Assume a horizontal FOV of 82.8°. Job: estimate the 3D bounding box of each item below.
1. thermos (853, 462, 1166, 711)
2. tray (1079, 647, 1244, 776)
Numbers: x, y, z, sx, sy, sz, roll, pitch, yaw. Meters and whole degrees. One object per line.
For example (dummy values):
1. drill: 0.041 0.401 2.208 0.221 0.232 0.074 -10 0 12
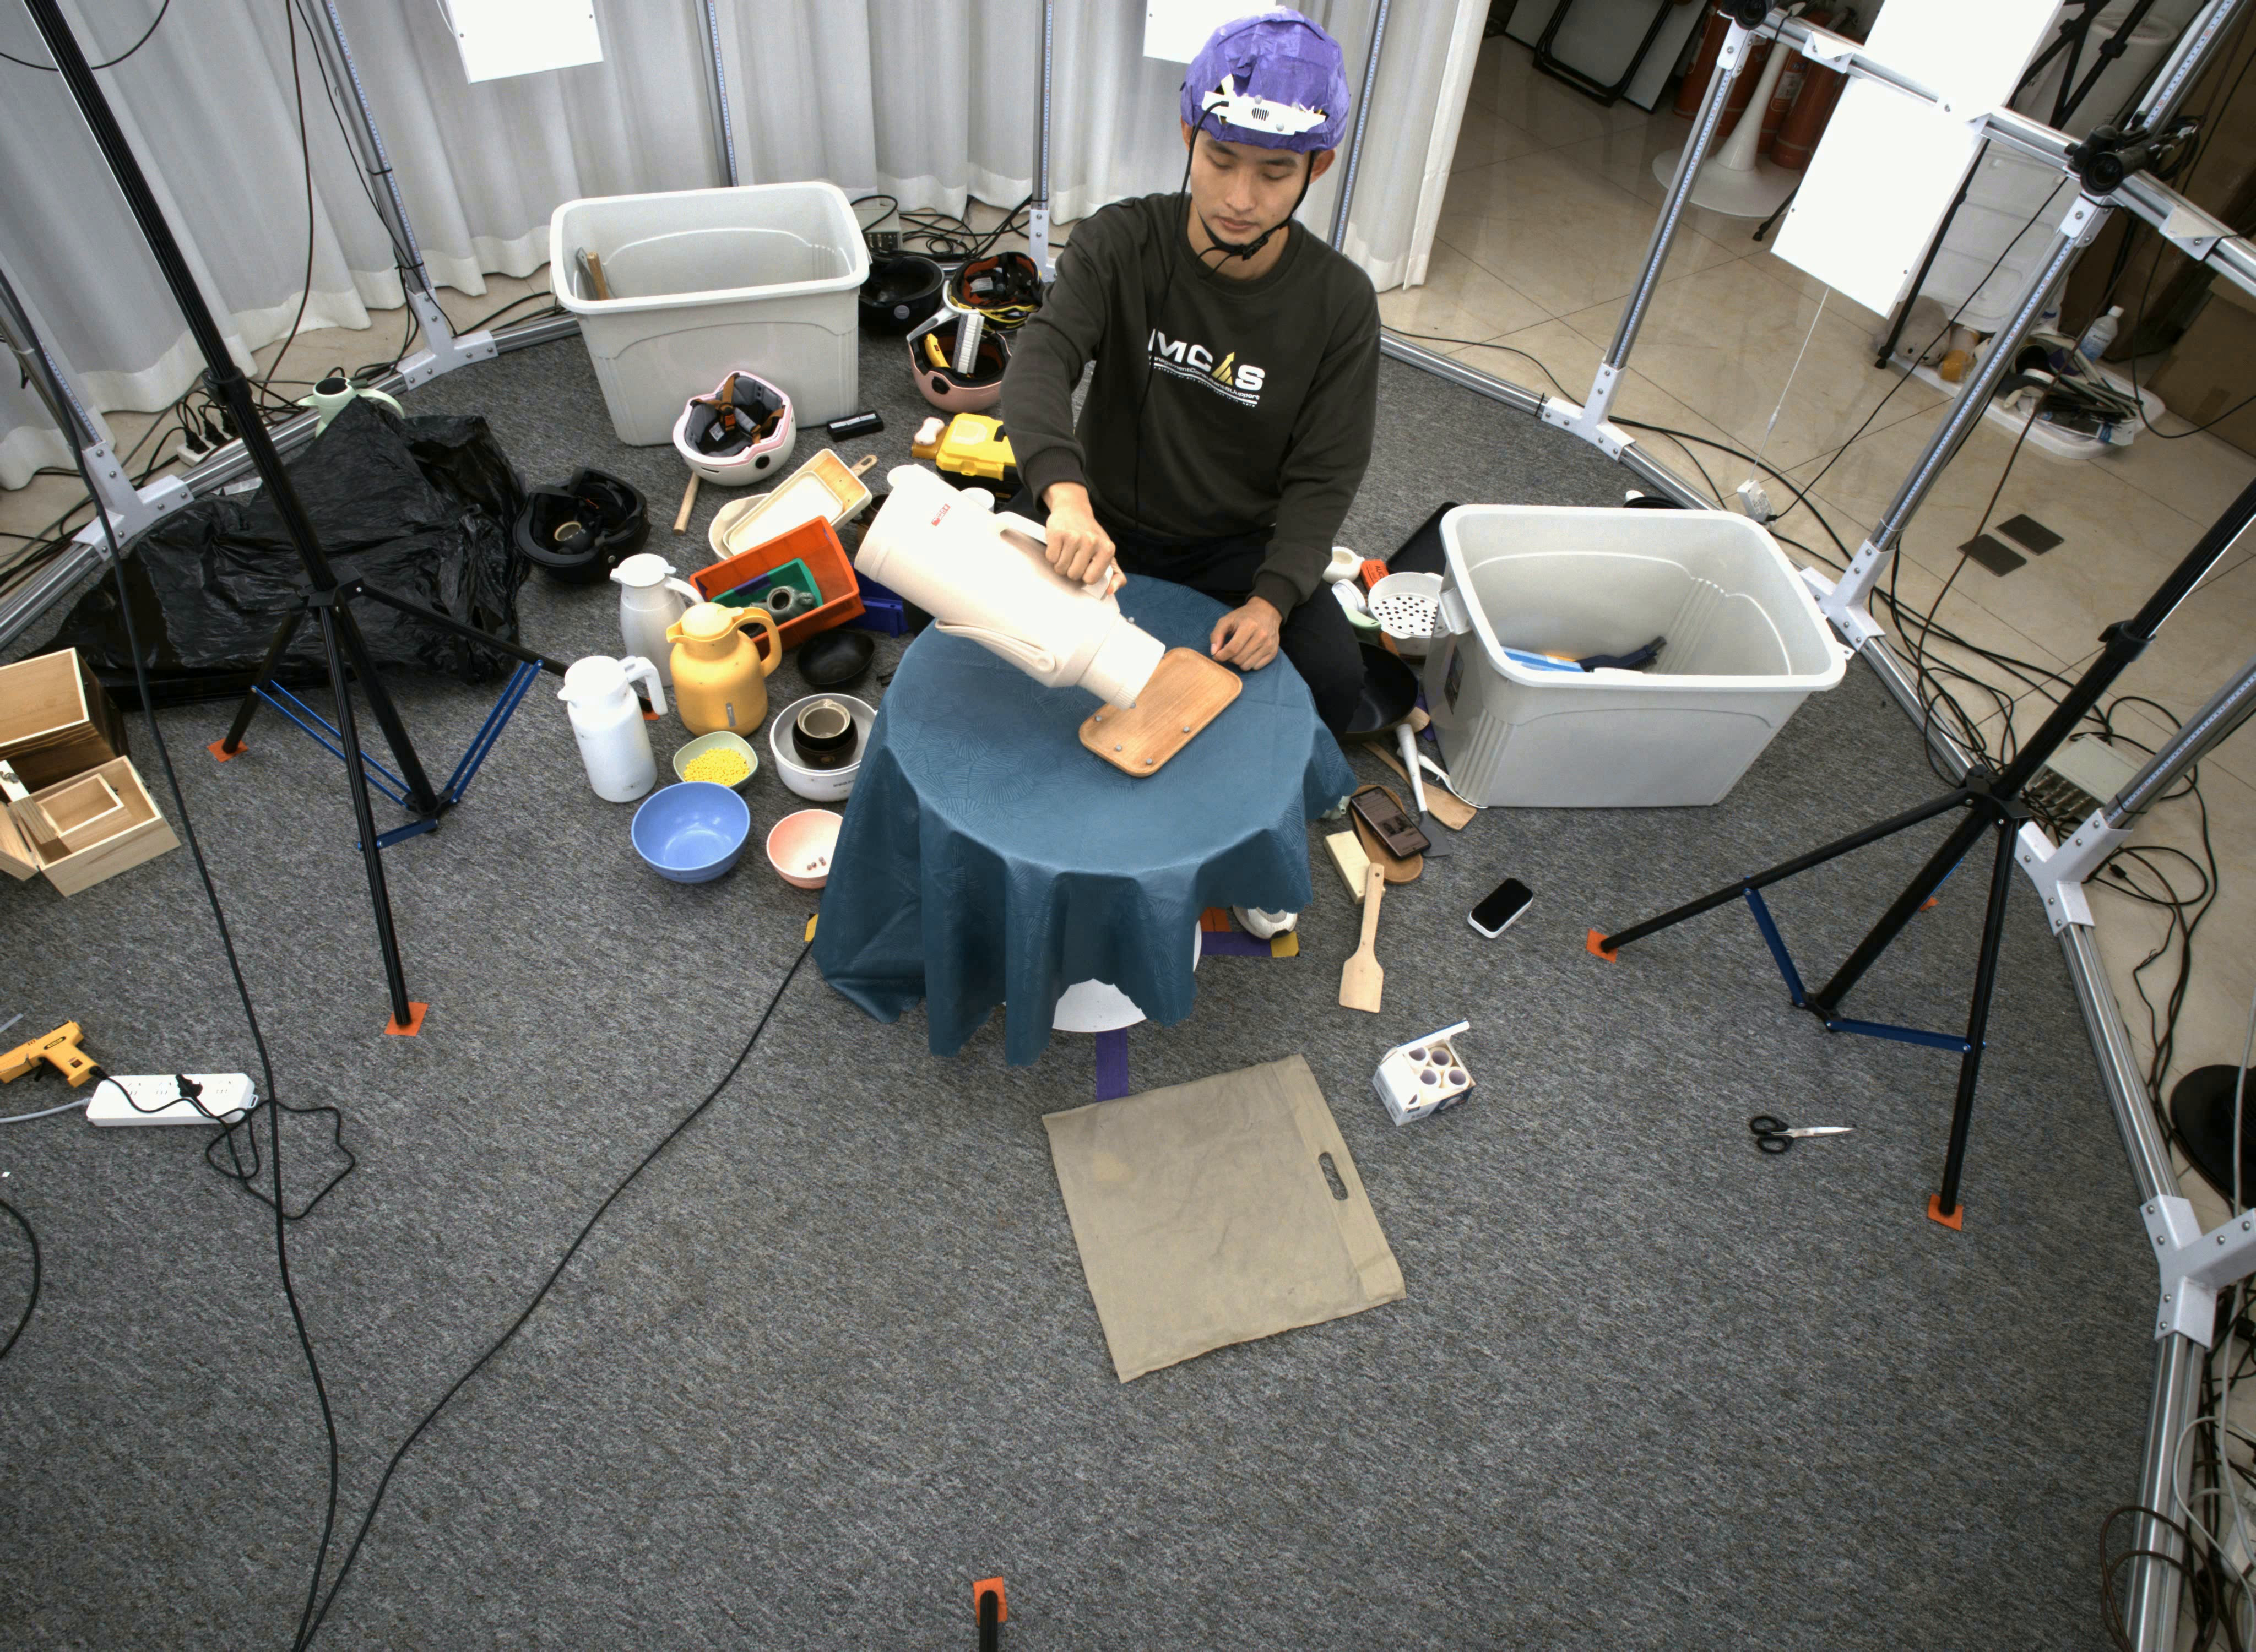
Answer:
1. thermos: -0.140 -0.309 1.682 0.405 0.203 0.179 32 43 -5
2. tray: 0.049 -0.163 1.799 0.132 0.022 0.253 35 54 21
